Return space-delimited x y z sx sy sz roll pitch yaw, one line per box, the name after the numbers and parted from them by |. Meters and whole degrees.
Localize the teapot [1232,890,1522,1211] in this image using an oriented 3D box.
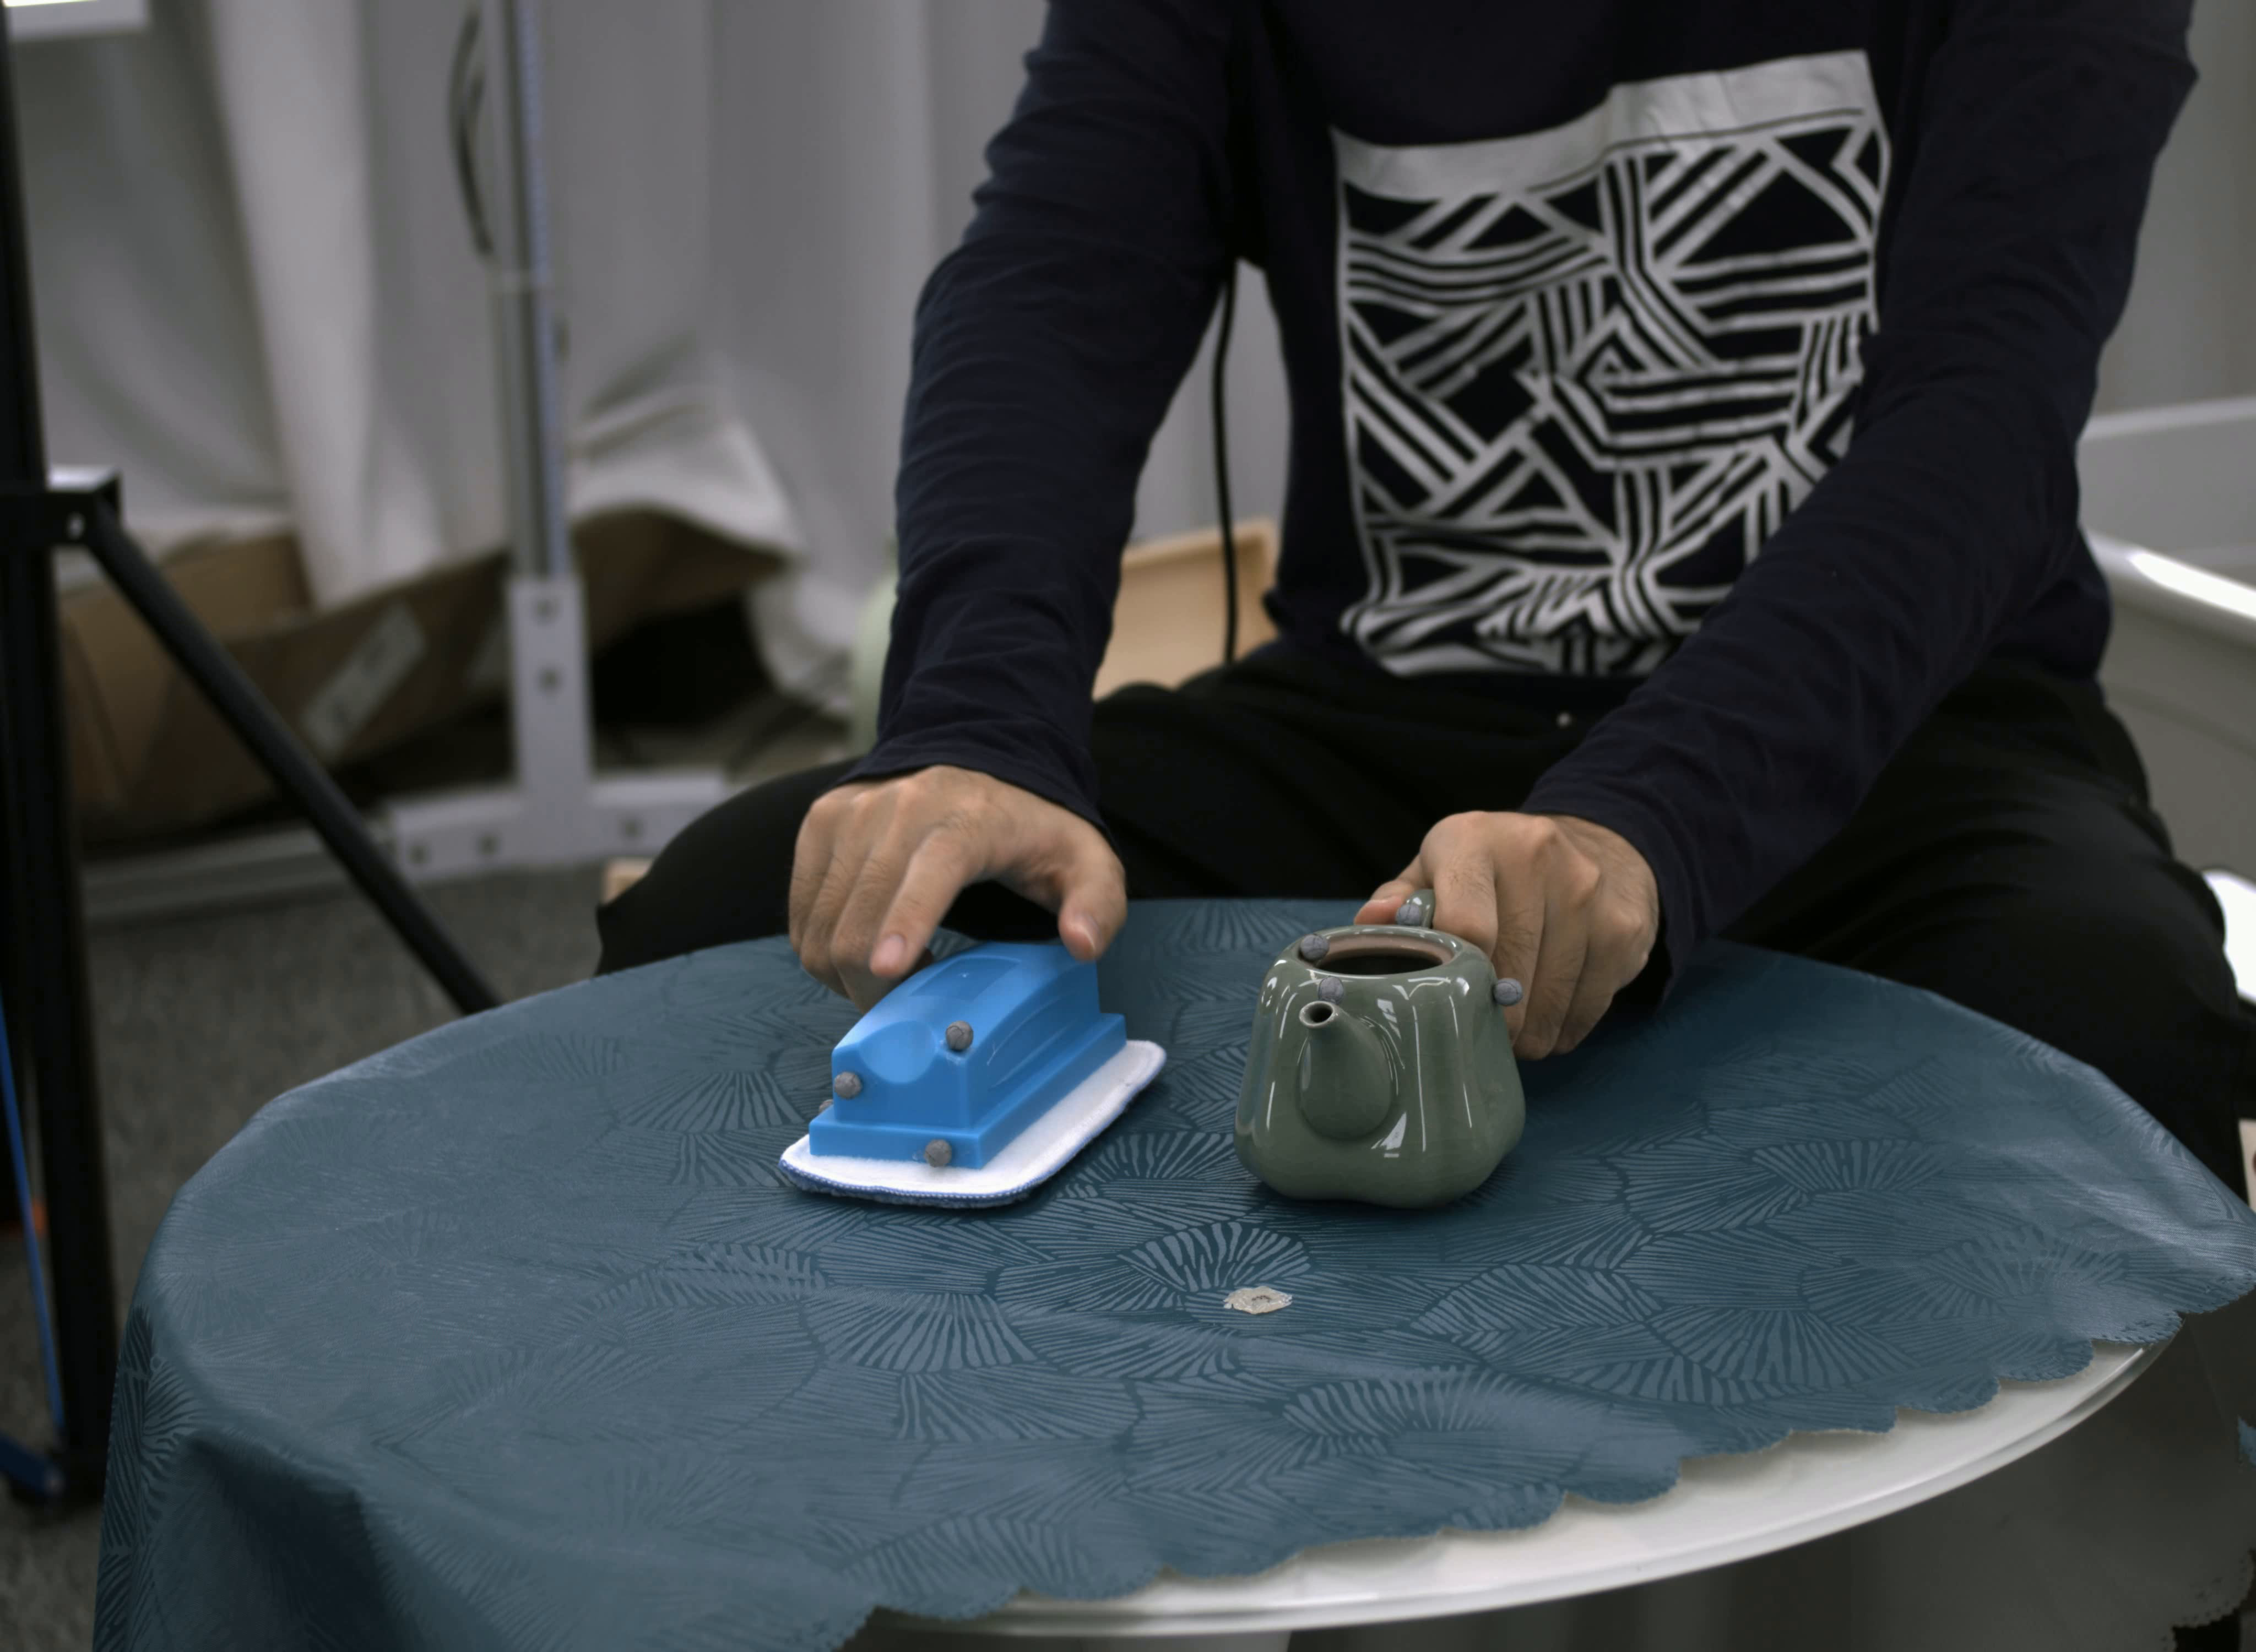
0.074 0.069 1.554 0.080 0.075 0.131 4 16 20 | teapot

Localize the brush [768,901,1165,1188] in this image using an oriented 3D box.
-0.047 0.062 1.616 0.085 0.056 0.142 8 21 22 | brush
